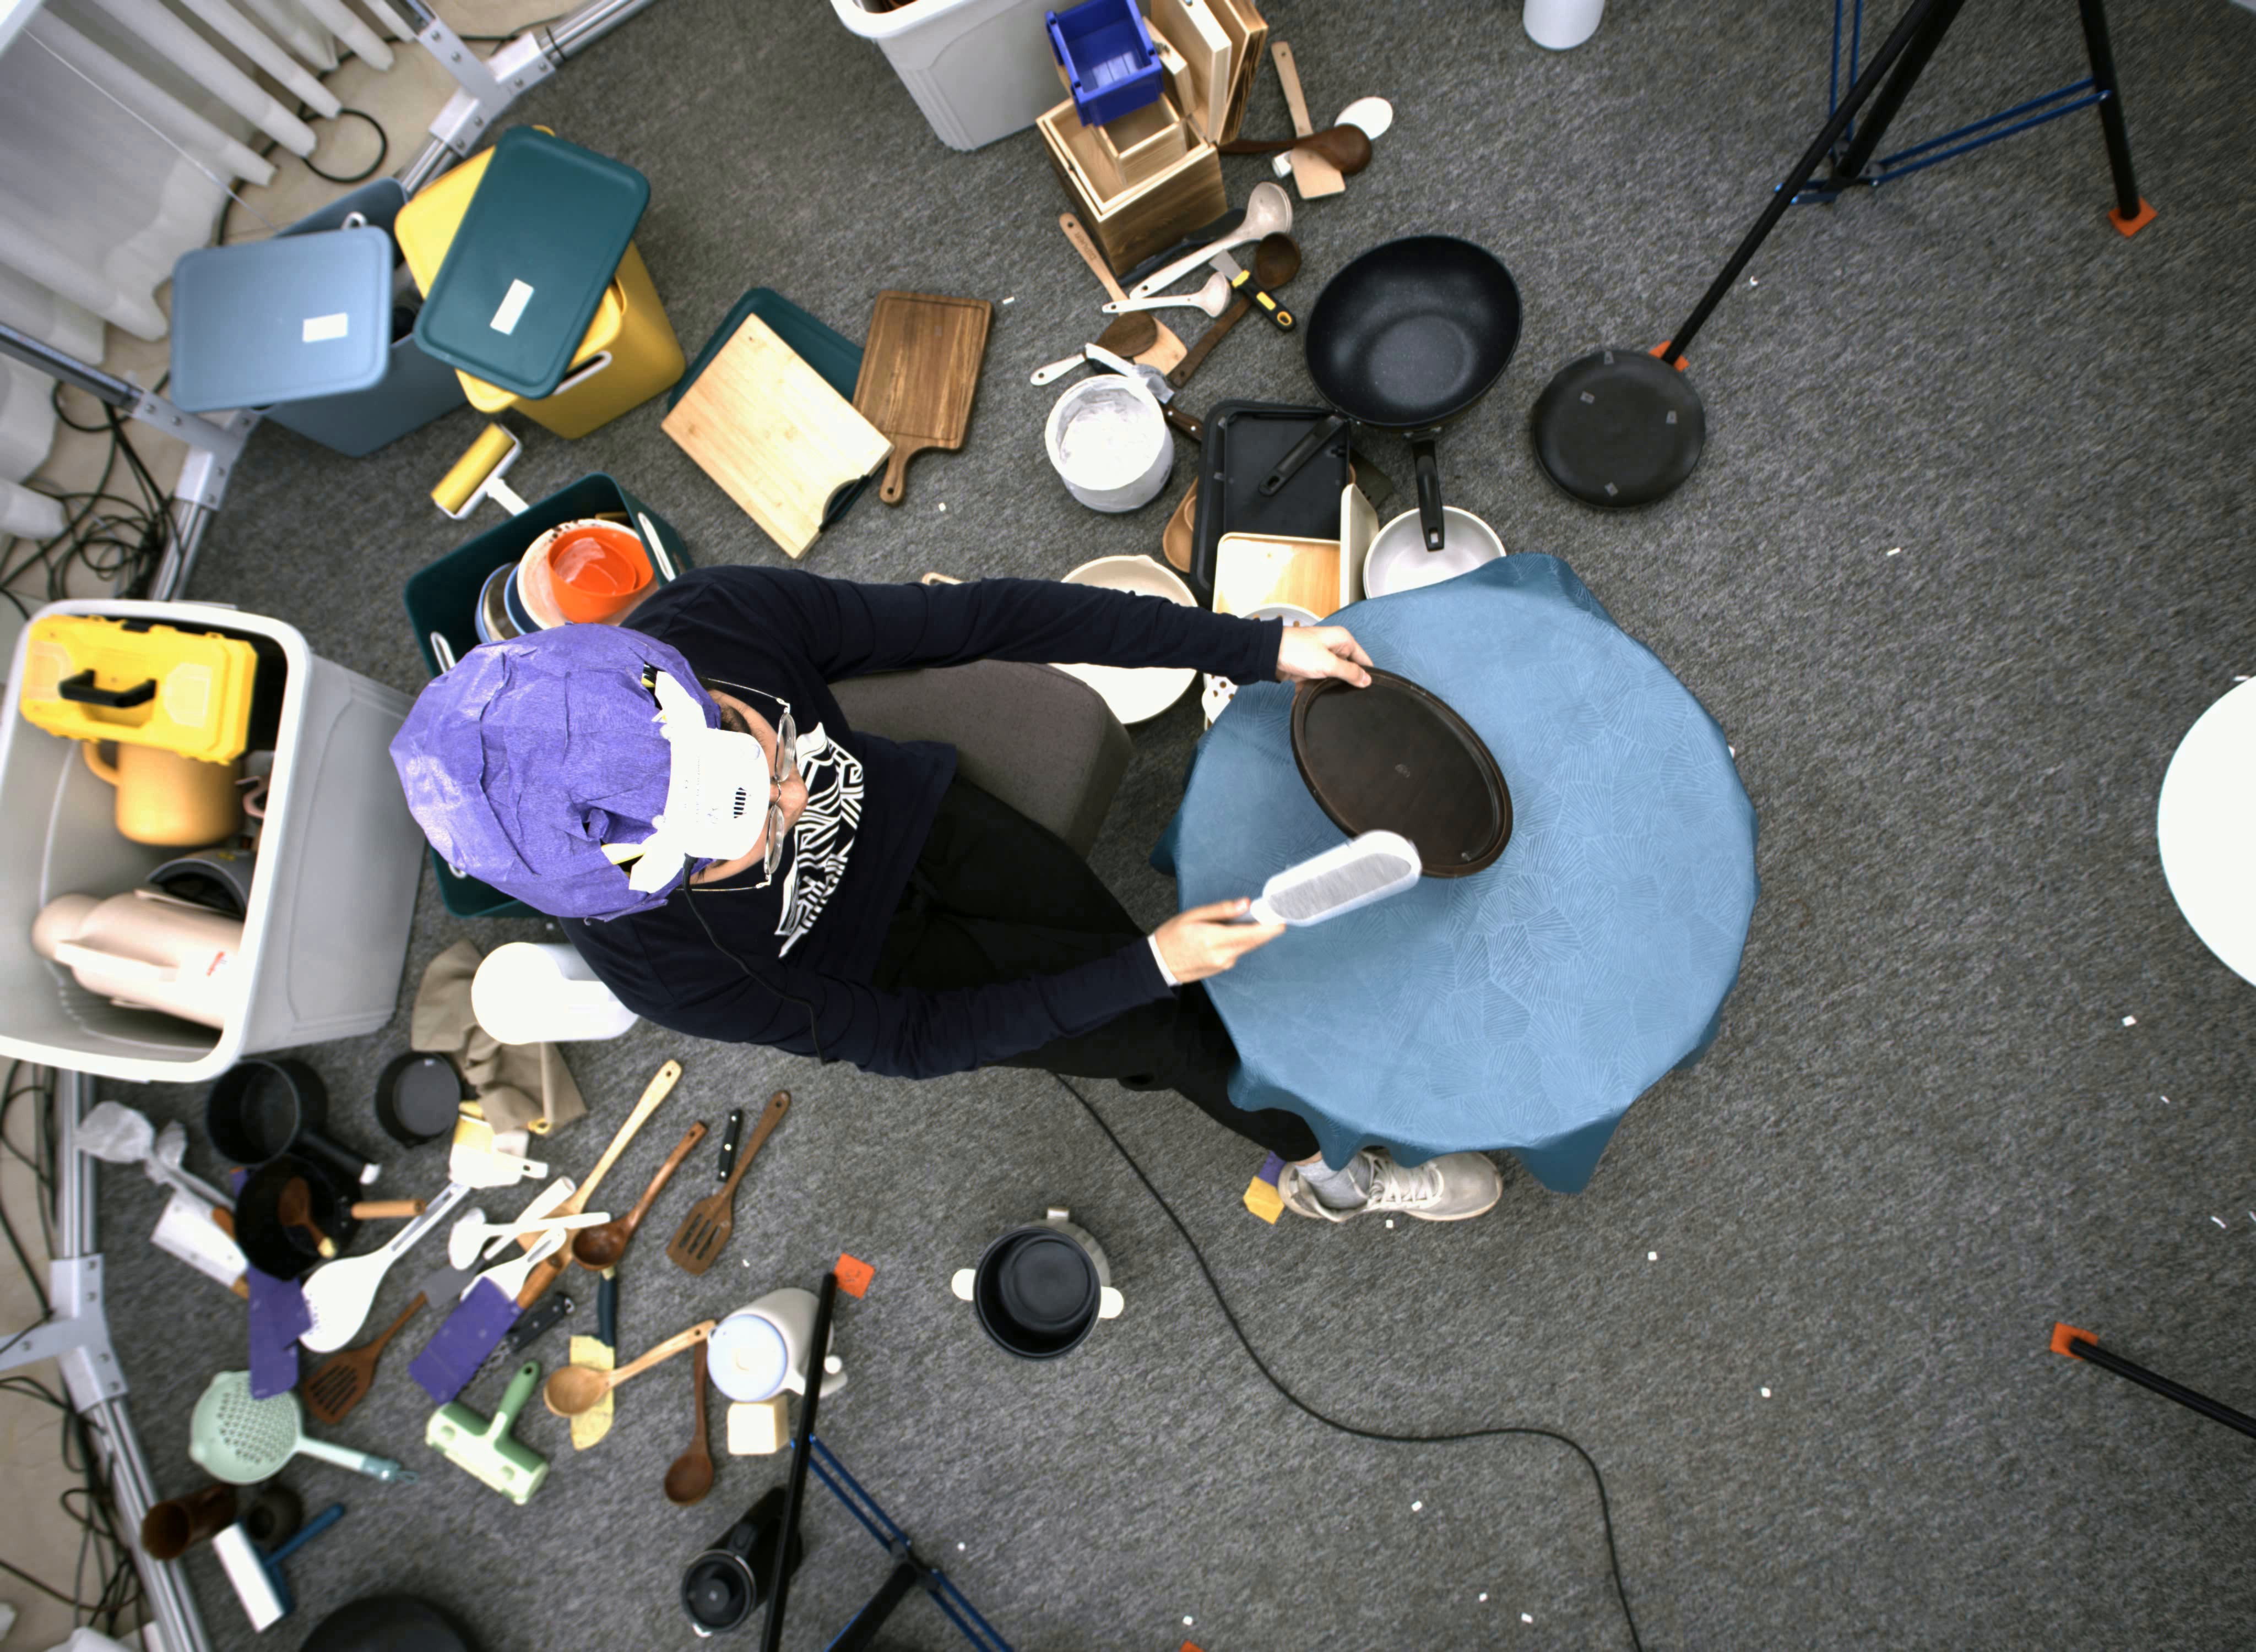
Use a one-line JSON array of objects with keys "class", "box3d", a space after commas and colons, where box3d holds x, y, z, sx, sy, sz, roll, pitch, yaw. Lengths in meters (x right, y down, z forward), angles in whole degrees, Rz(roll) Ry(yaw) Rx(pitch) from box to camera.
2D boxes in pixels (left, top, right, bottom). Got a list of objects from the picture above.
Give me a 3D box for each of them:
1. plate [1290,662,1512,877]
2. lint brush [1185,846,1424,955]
[{"class": "plate", "box3d": [0.267, -0.057, 1.346, 0.253, 0.250, 0.030, 48, 137, 10]}, {"class": "lint brush", "box3d": [0.156, 0.076, 1.312, 0.060, 0.314, 0.020, 35, 54, -23]}]
